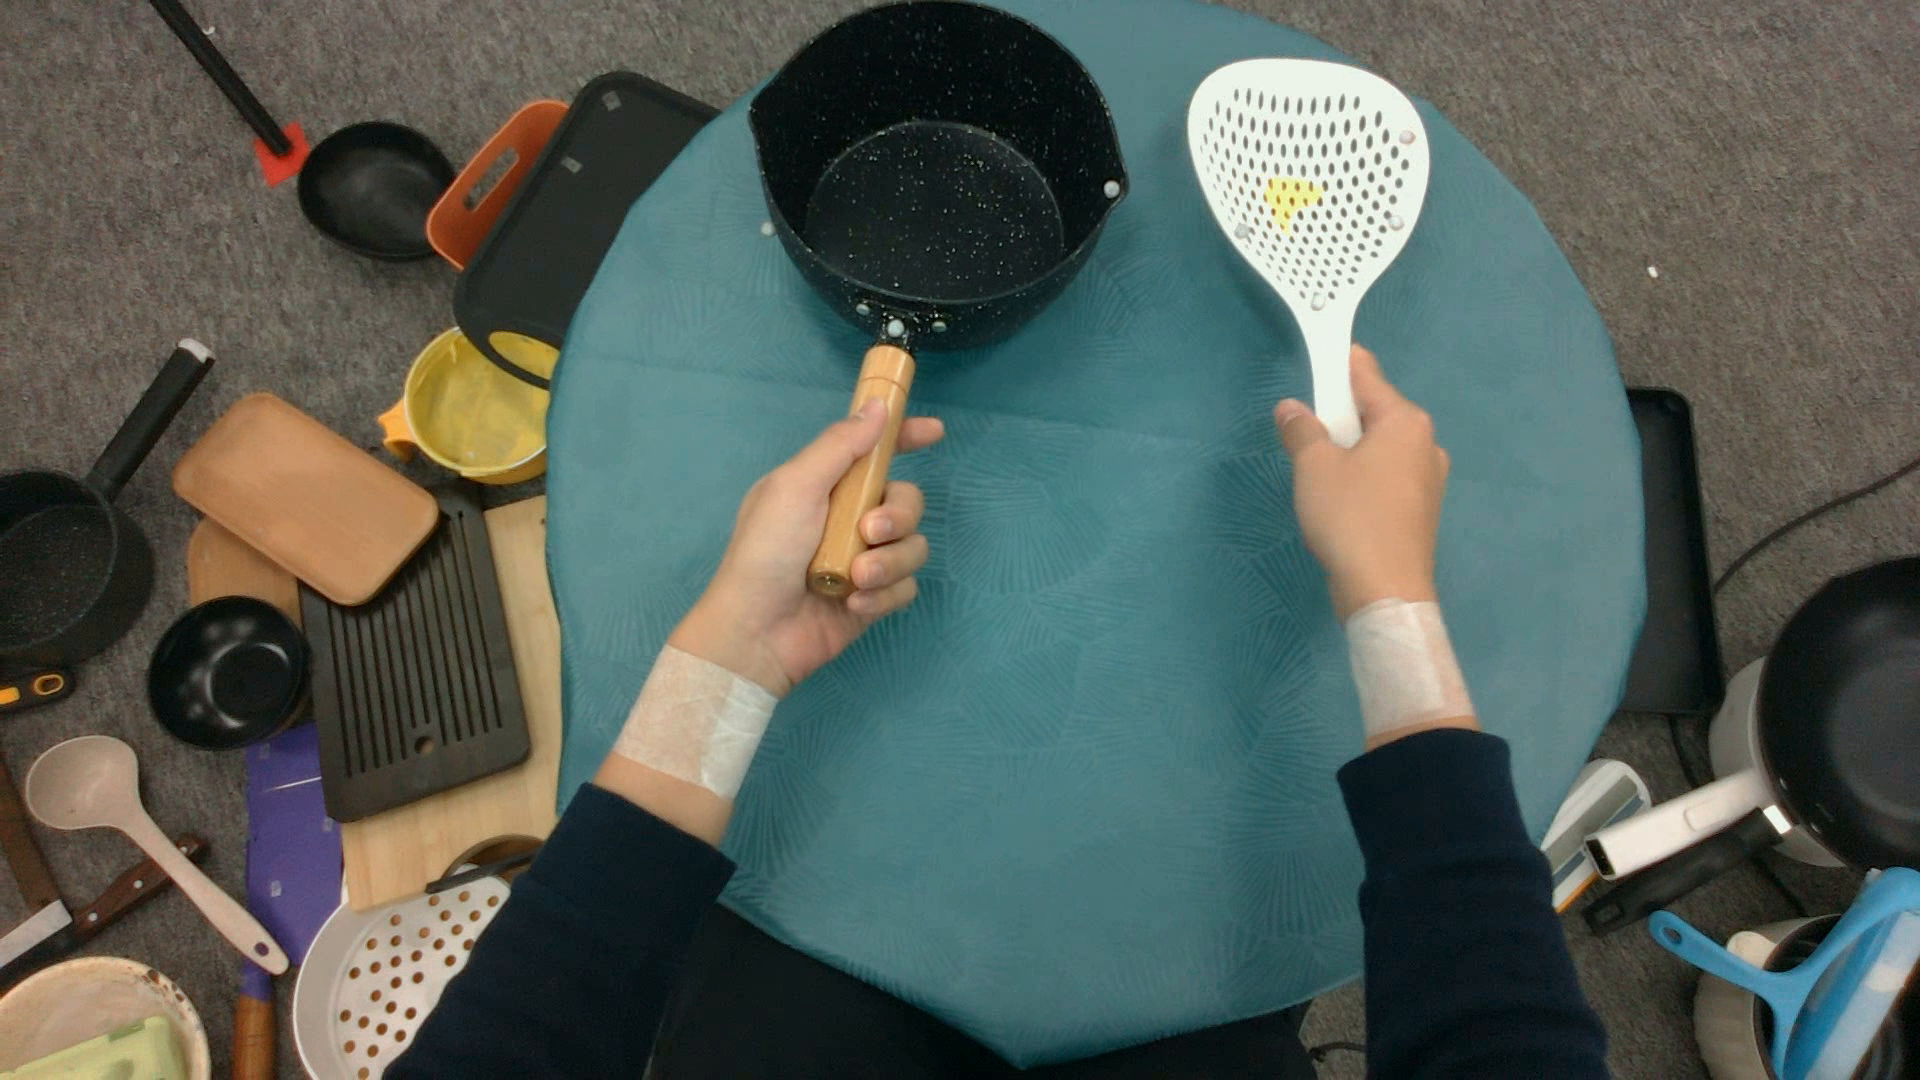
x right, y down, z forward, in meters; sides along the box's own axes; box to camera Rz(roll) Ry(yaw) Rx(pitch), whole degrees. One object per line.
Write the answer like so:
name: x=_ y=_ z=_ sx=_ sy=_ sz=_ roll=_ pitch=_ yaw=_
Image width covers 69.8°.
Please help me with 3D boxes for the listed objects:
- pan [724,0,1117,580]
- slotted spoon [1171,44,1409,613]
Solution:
pan: x=-0.034 y=-0.126 z=0.705 sx=0.207 sy=0.108 sz=0.344 roll=11 pitch=69 yaw=-1
slotted spoon: x=0.184 y=-0.127 z=0.730 sx=0.137 sy=0.050 sz=0.349 roll=3 pitch=59 yaw=-7
